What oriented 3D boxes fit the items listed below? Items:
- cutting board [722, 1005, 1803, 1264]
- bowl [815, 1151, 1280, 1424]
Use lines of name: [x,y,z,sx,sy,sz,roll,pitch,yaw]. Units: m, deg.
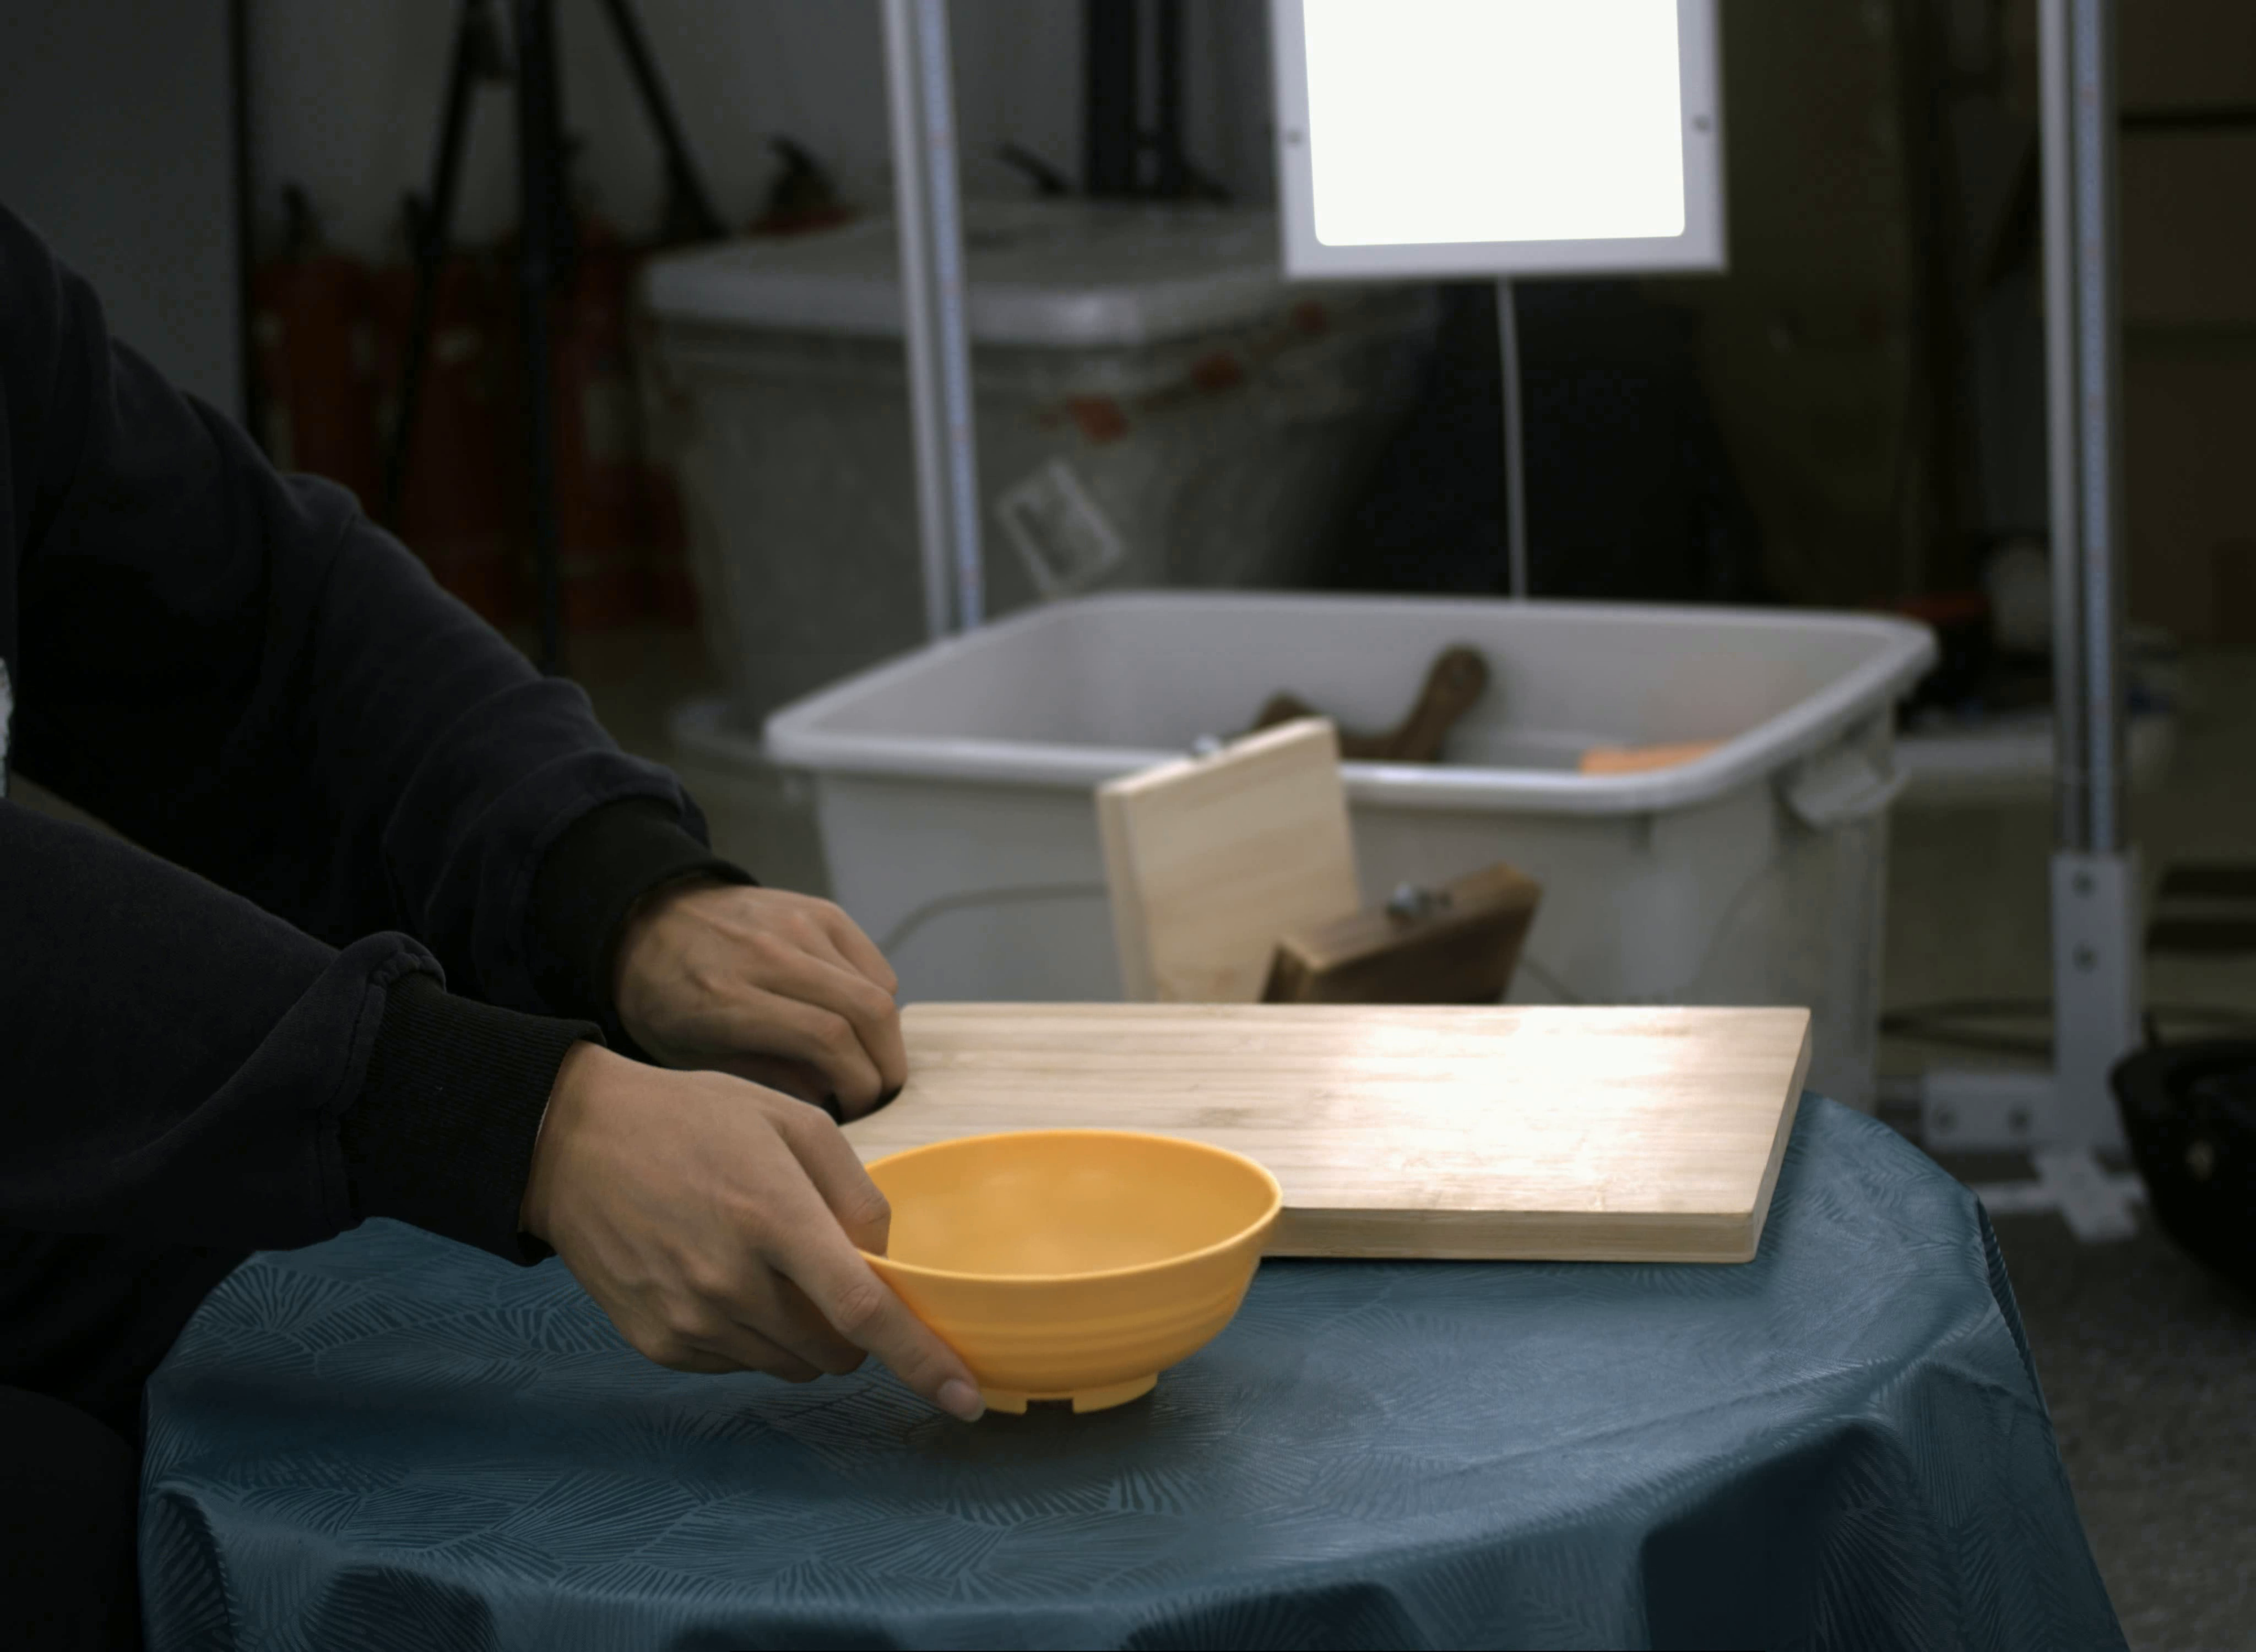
cutting board: [0.055,0.105,1.922,0.351,0.023,0.248,-1,14,13]
bowl: [-0.023,0.146,1.694,0.145,0.060,0.145,-3,12,-1]
